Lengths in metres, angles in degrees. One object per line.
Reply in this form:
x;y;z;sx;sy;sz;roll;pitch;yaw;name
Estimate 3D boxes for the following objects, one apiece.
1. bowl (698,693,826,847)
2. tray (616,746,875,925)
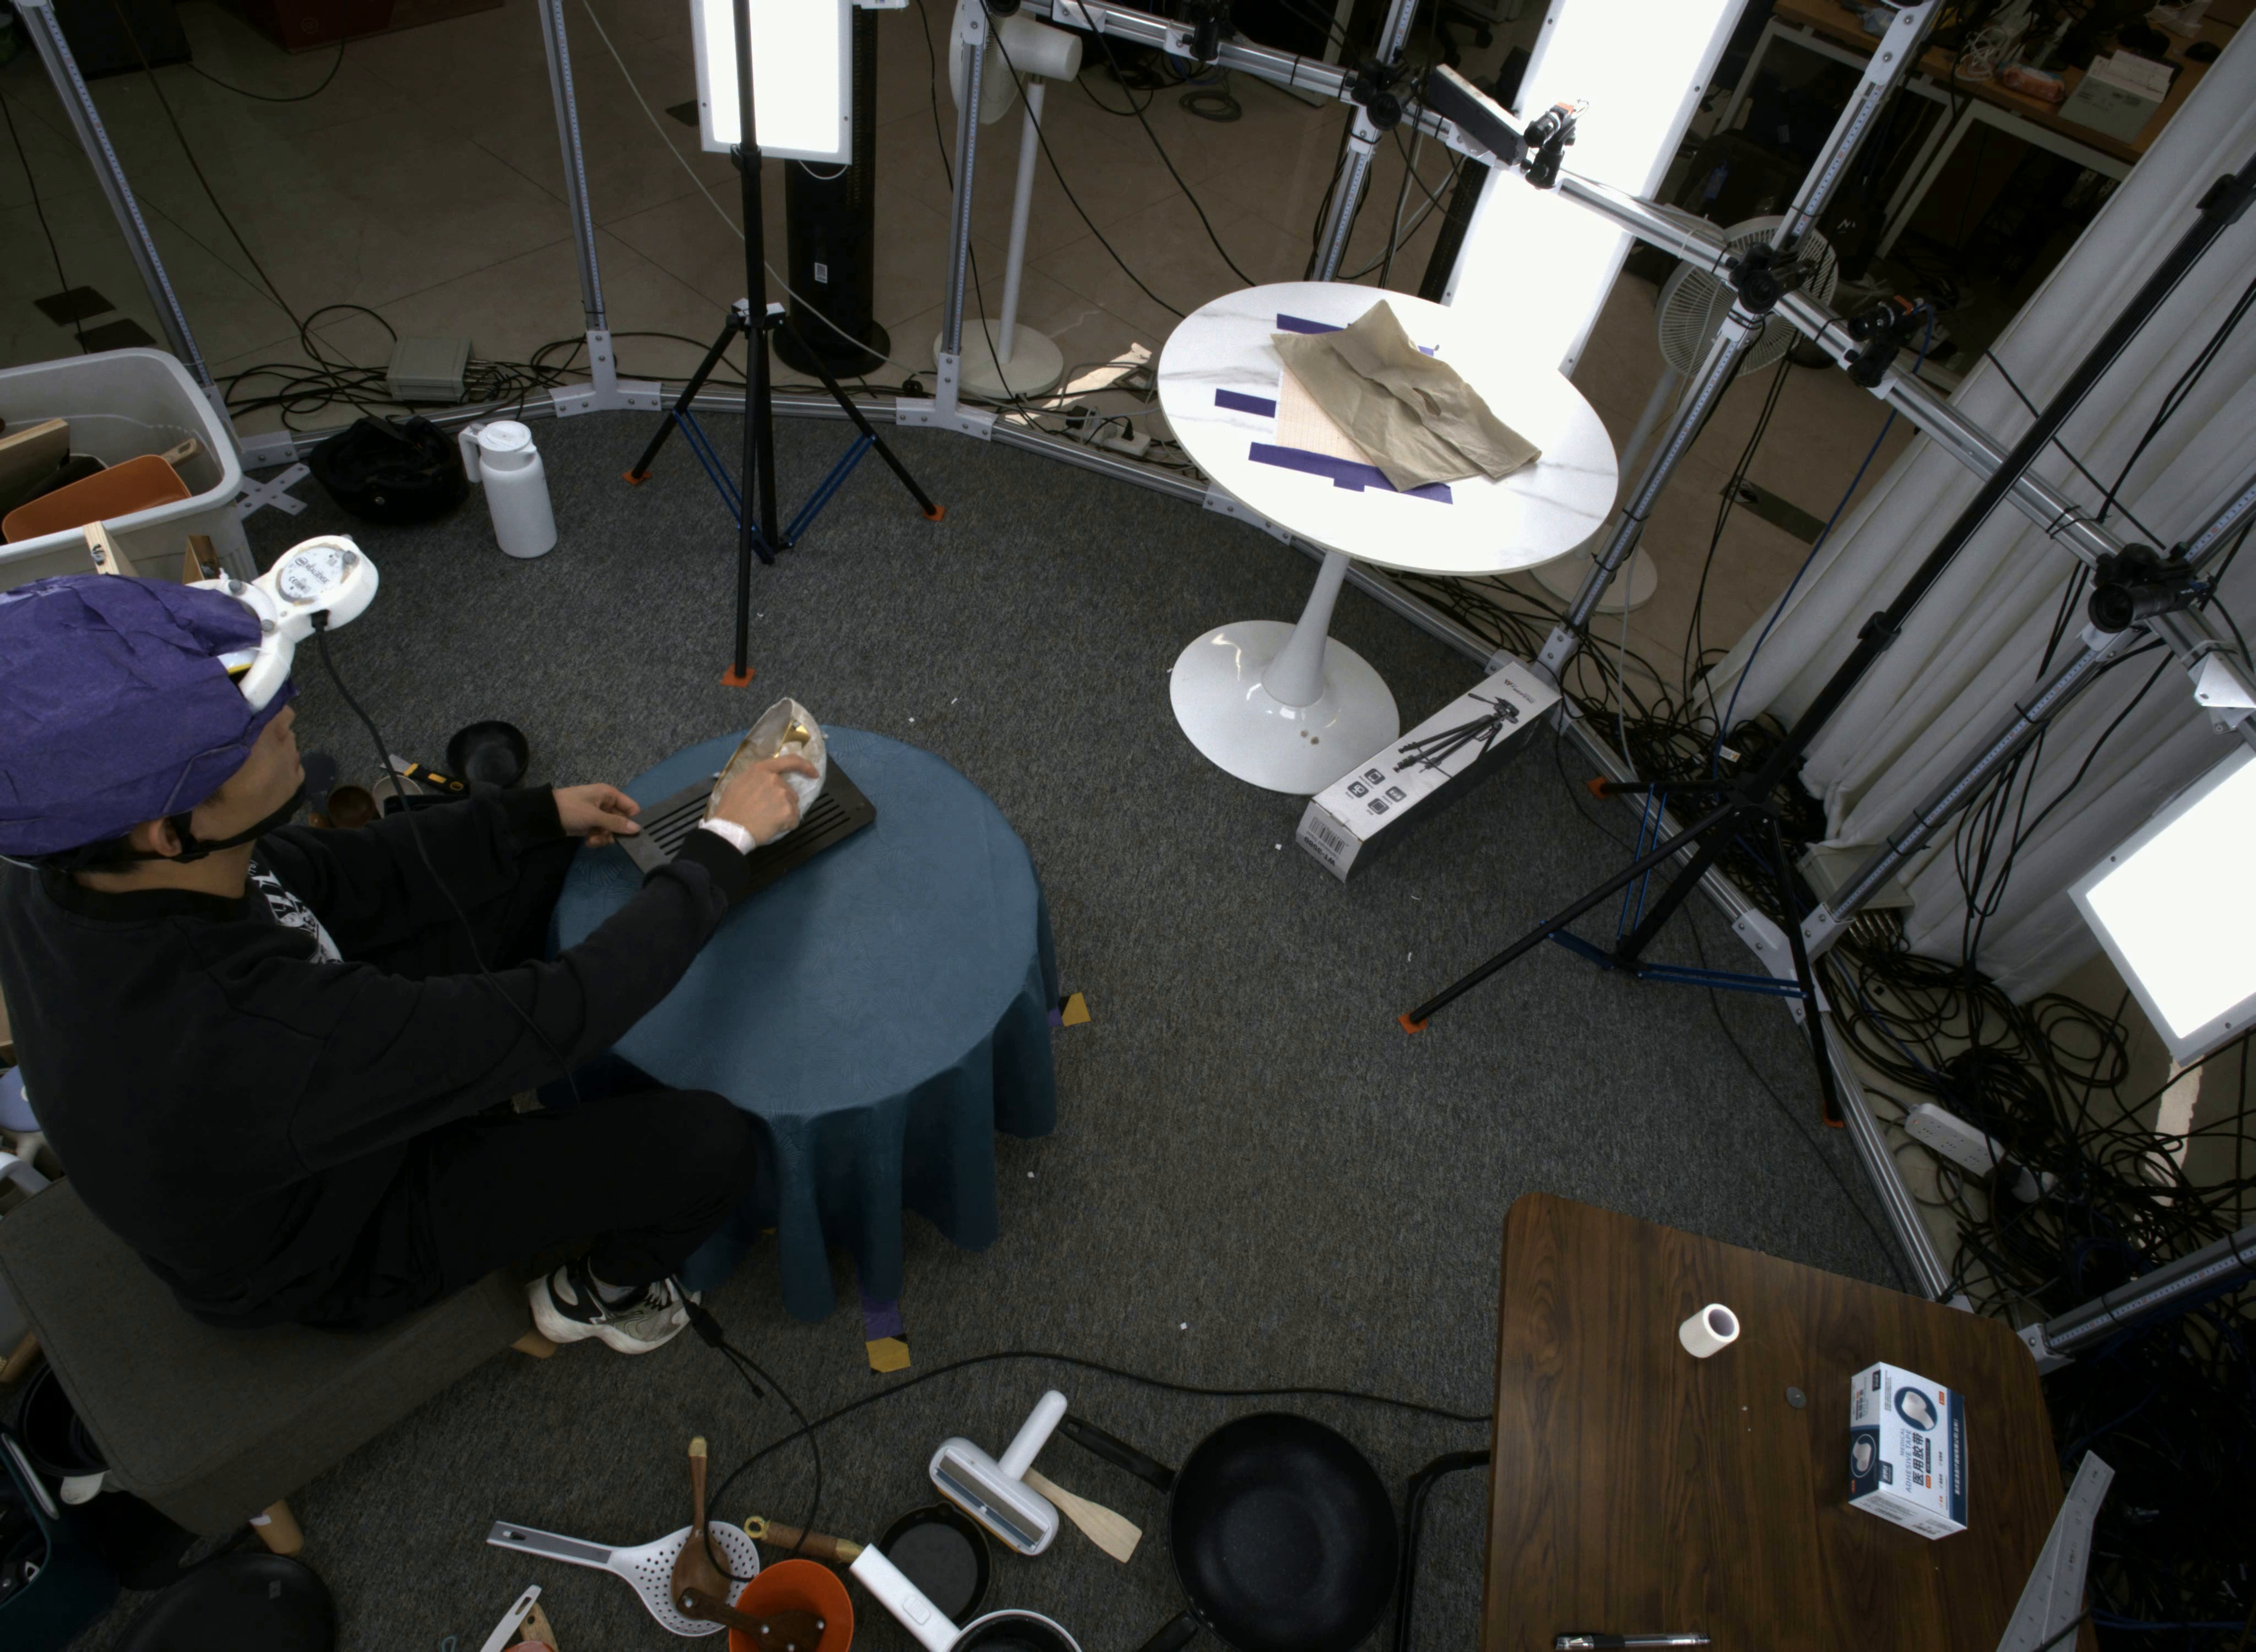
-0.443;-0.053;1.618;0.097;0.212;0.211;34;44;-28;bowl
-0.493;-0.005;1.677;0.168;0.019;0.307;47;53;10;tray
